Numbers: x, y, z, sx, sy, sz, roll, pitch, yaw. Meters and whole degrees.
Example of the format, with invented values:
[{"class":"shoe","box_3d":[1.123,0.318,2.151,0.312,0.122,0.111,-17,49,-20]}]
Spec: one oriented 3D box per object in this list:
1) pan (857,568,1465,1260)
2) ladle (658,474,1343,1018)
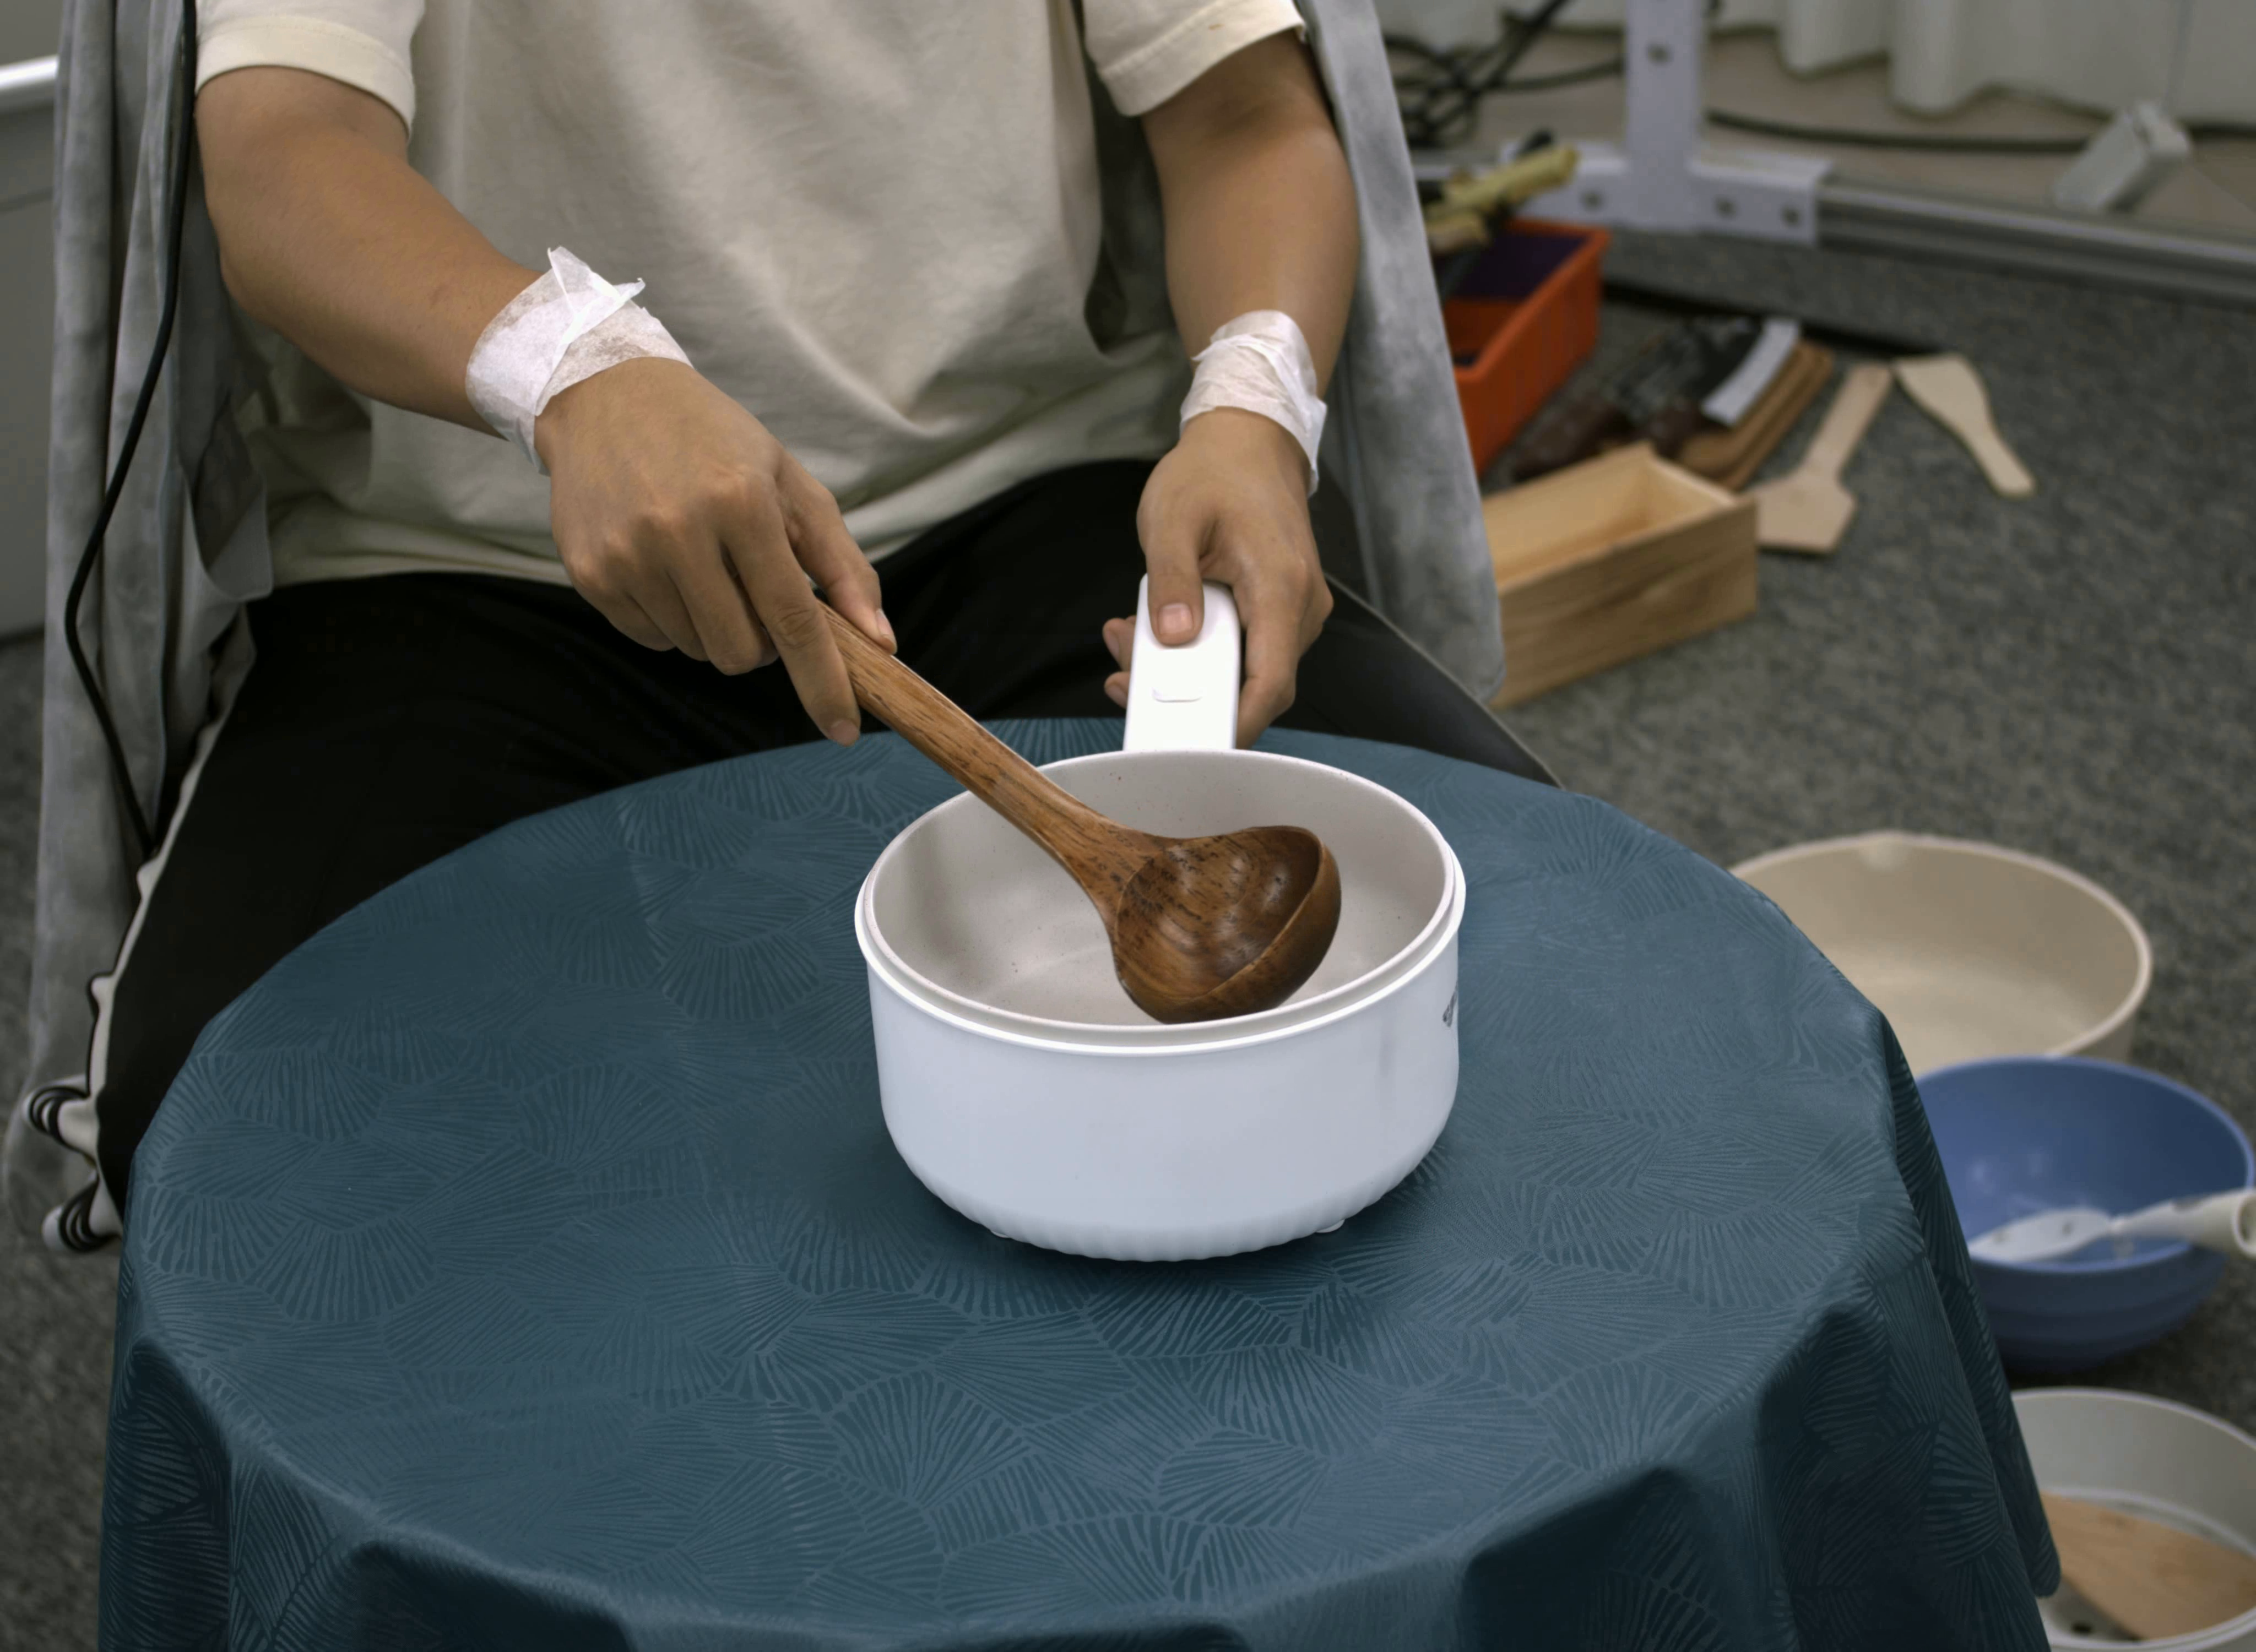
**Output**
[{"class":"pan","box_3d":[0.018,0.027,1.935,0.200,0.101,0.360,-1,26,5]},{"class":"ladle","box_3d":[-0.047,-0.033,1.839,0.274,0.075,0.083,40,65,8]}]
